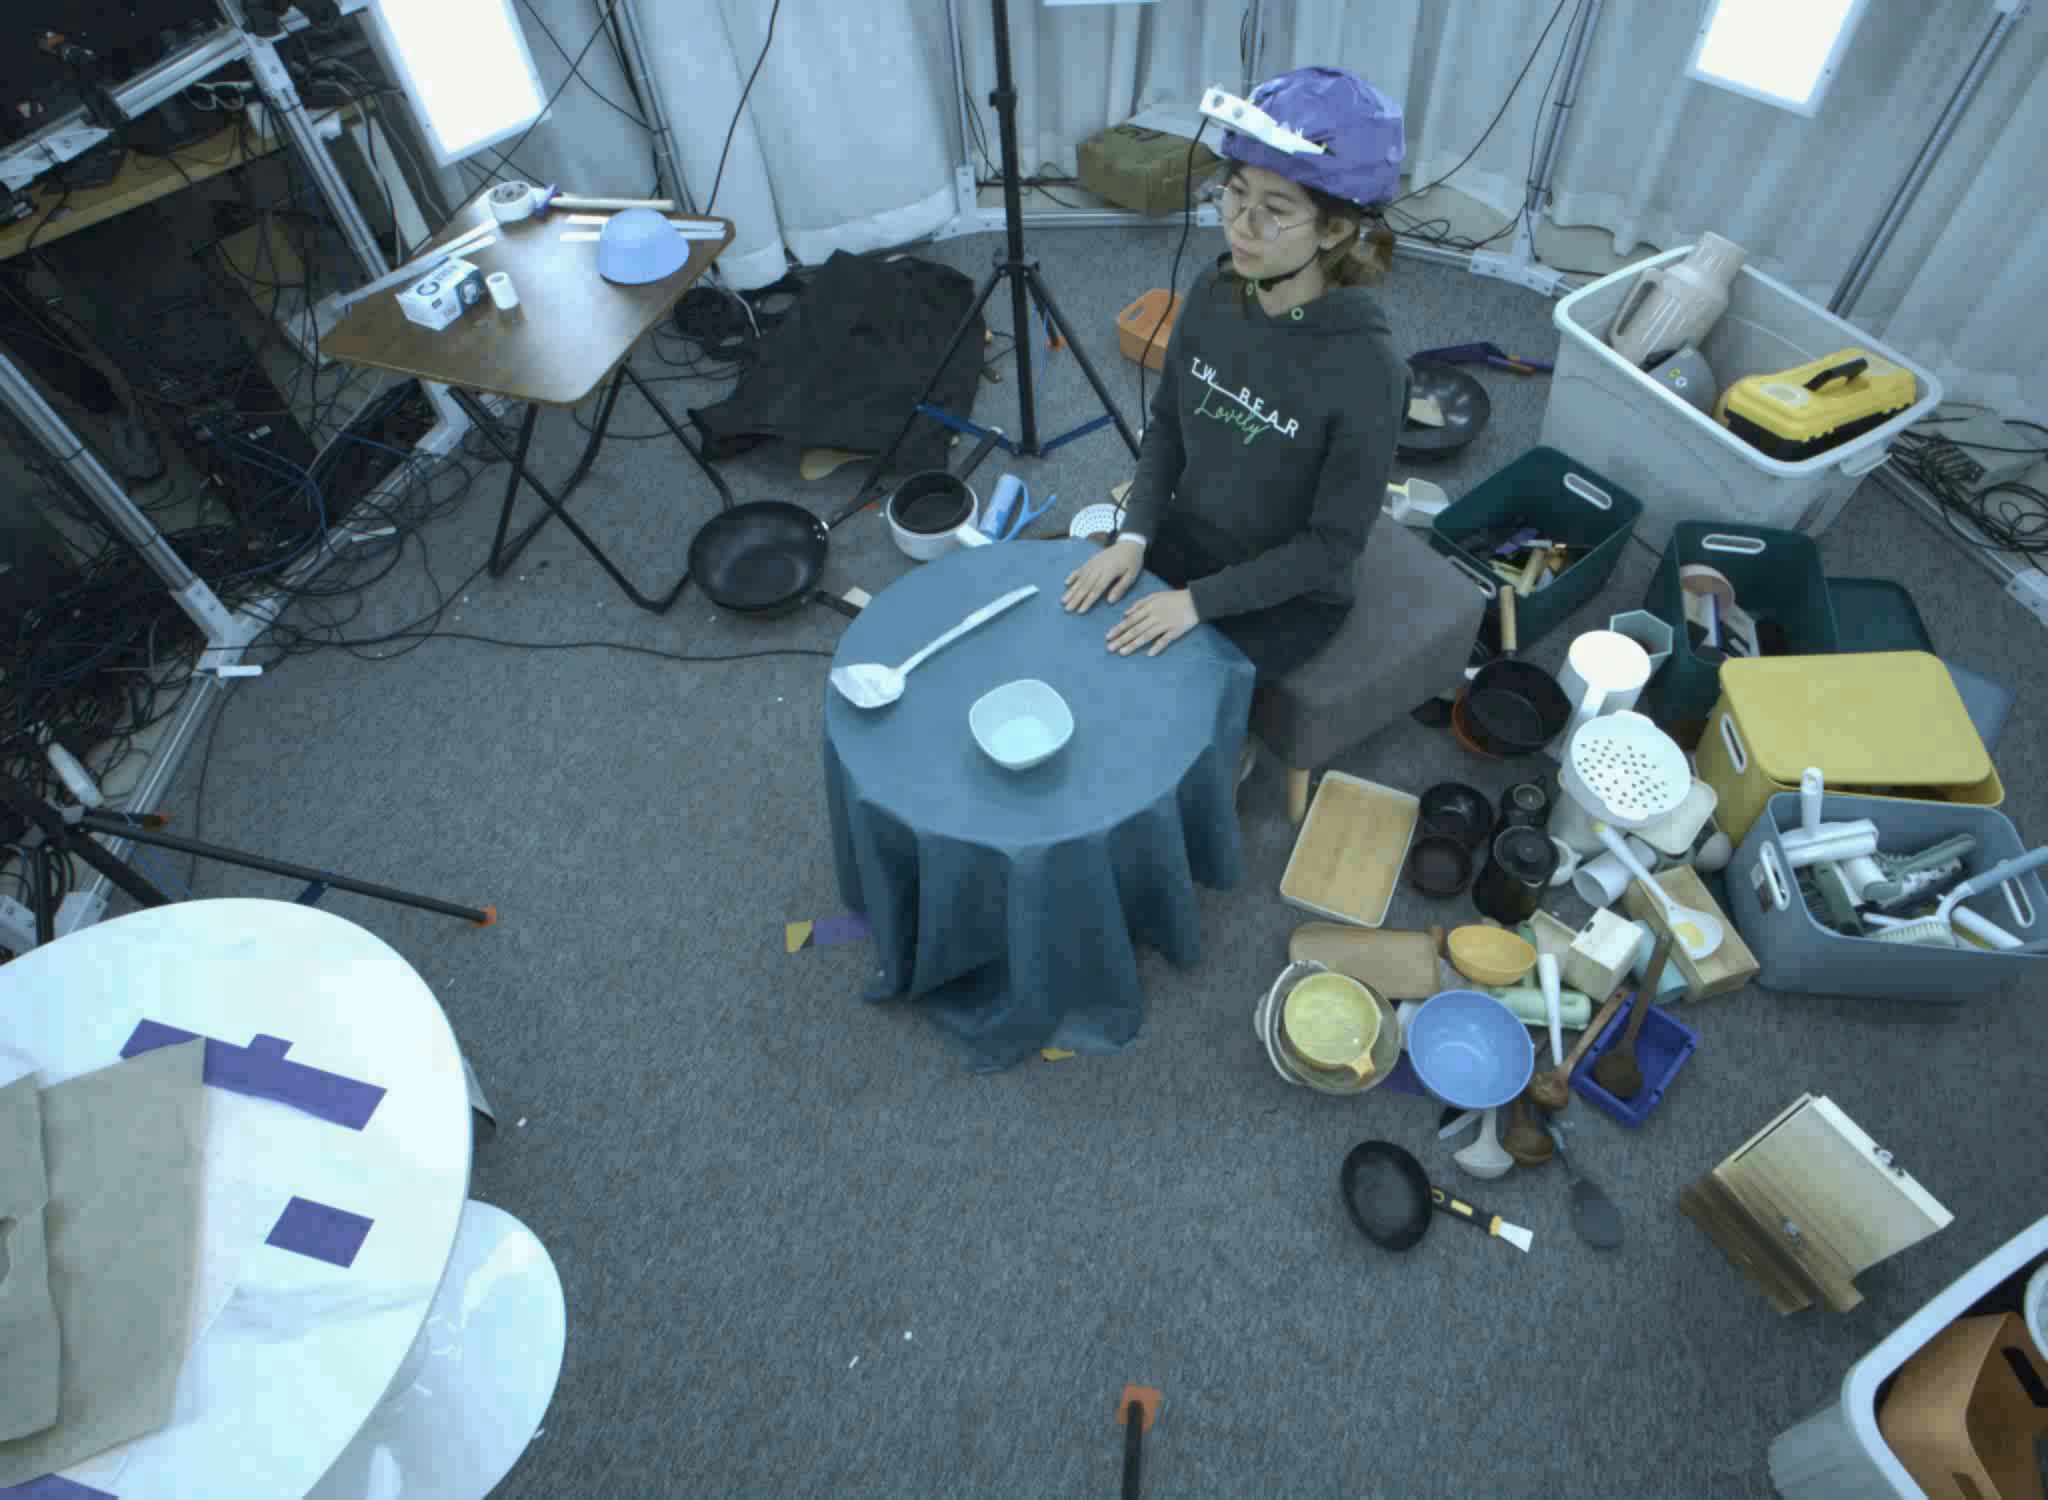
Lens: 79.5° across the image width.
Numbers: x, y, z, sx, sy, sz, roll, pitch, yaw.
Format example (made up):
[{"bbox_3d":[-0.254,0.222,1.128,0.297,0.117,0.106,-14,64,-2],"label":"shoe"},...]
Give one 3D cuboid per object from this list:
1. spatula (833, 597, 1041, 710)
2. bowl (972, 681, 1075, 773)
[{"bbox_3d":[-0.125,-0.163,1.893,0.368,0.045,0.097,-34,58,-20],"label":"spatula"},{"bbox_3d":[0.001,-0.023,1.779,0.151,0.059,0.150,0,58,2],"label":"bowl"}]
